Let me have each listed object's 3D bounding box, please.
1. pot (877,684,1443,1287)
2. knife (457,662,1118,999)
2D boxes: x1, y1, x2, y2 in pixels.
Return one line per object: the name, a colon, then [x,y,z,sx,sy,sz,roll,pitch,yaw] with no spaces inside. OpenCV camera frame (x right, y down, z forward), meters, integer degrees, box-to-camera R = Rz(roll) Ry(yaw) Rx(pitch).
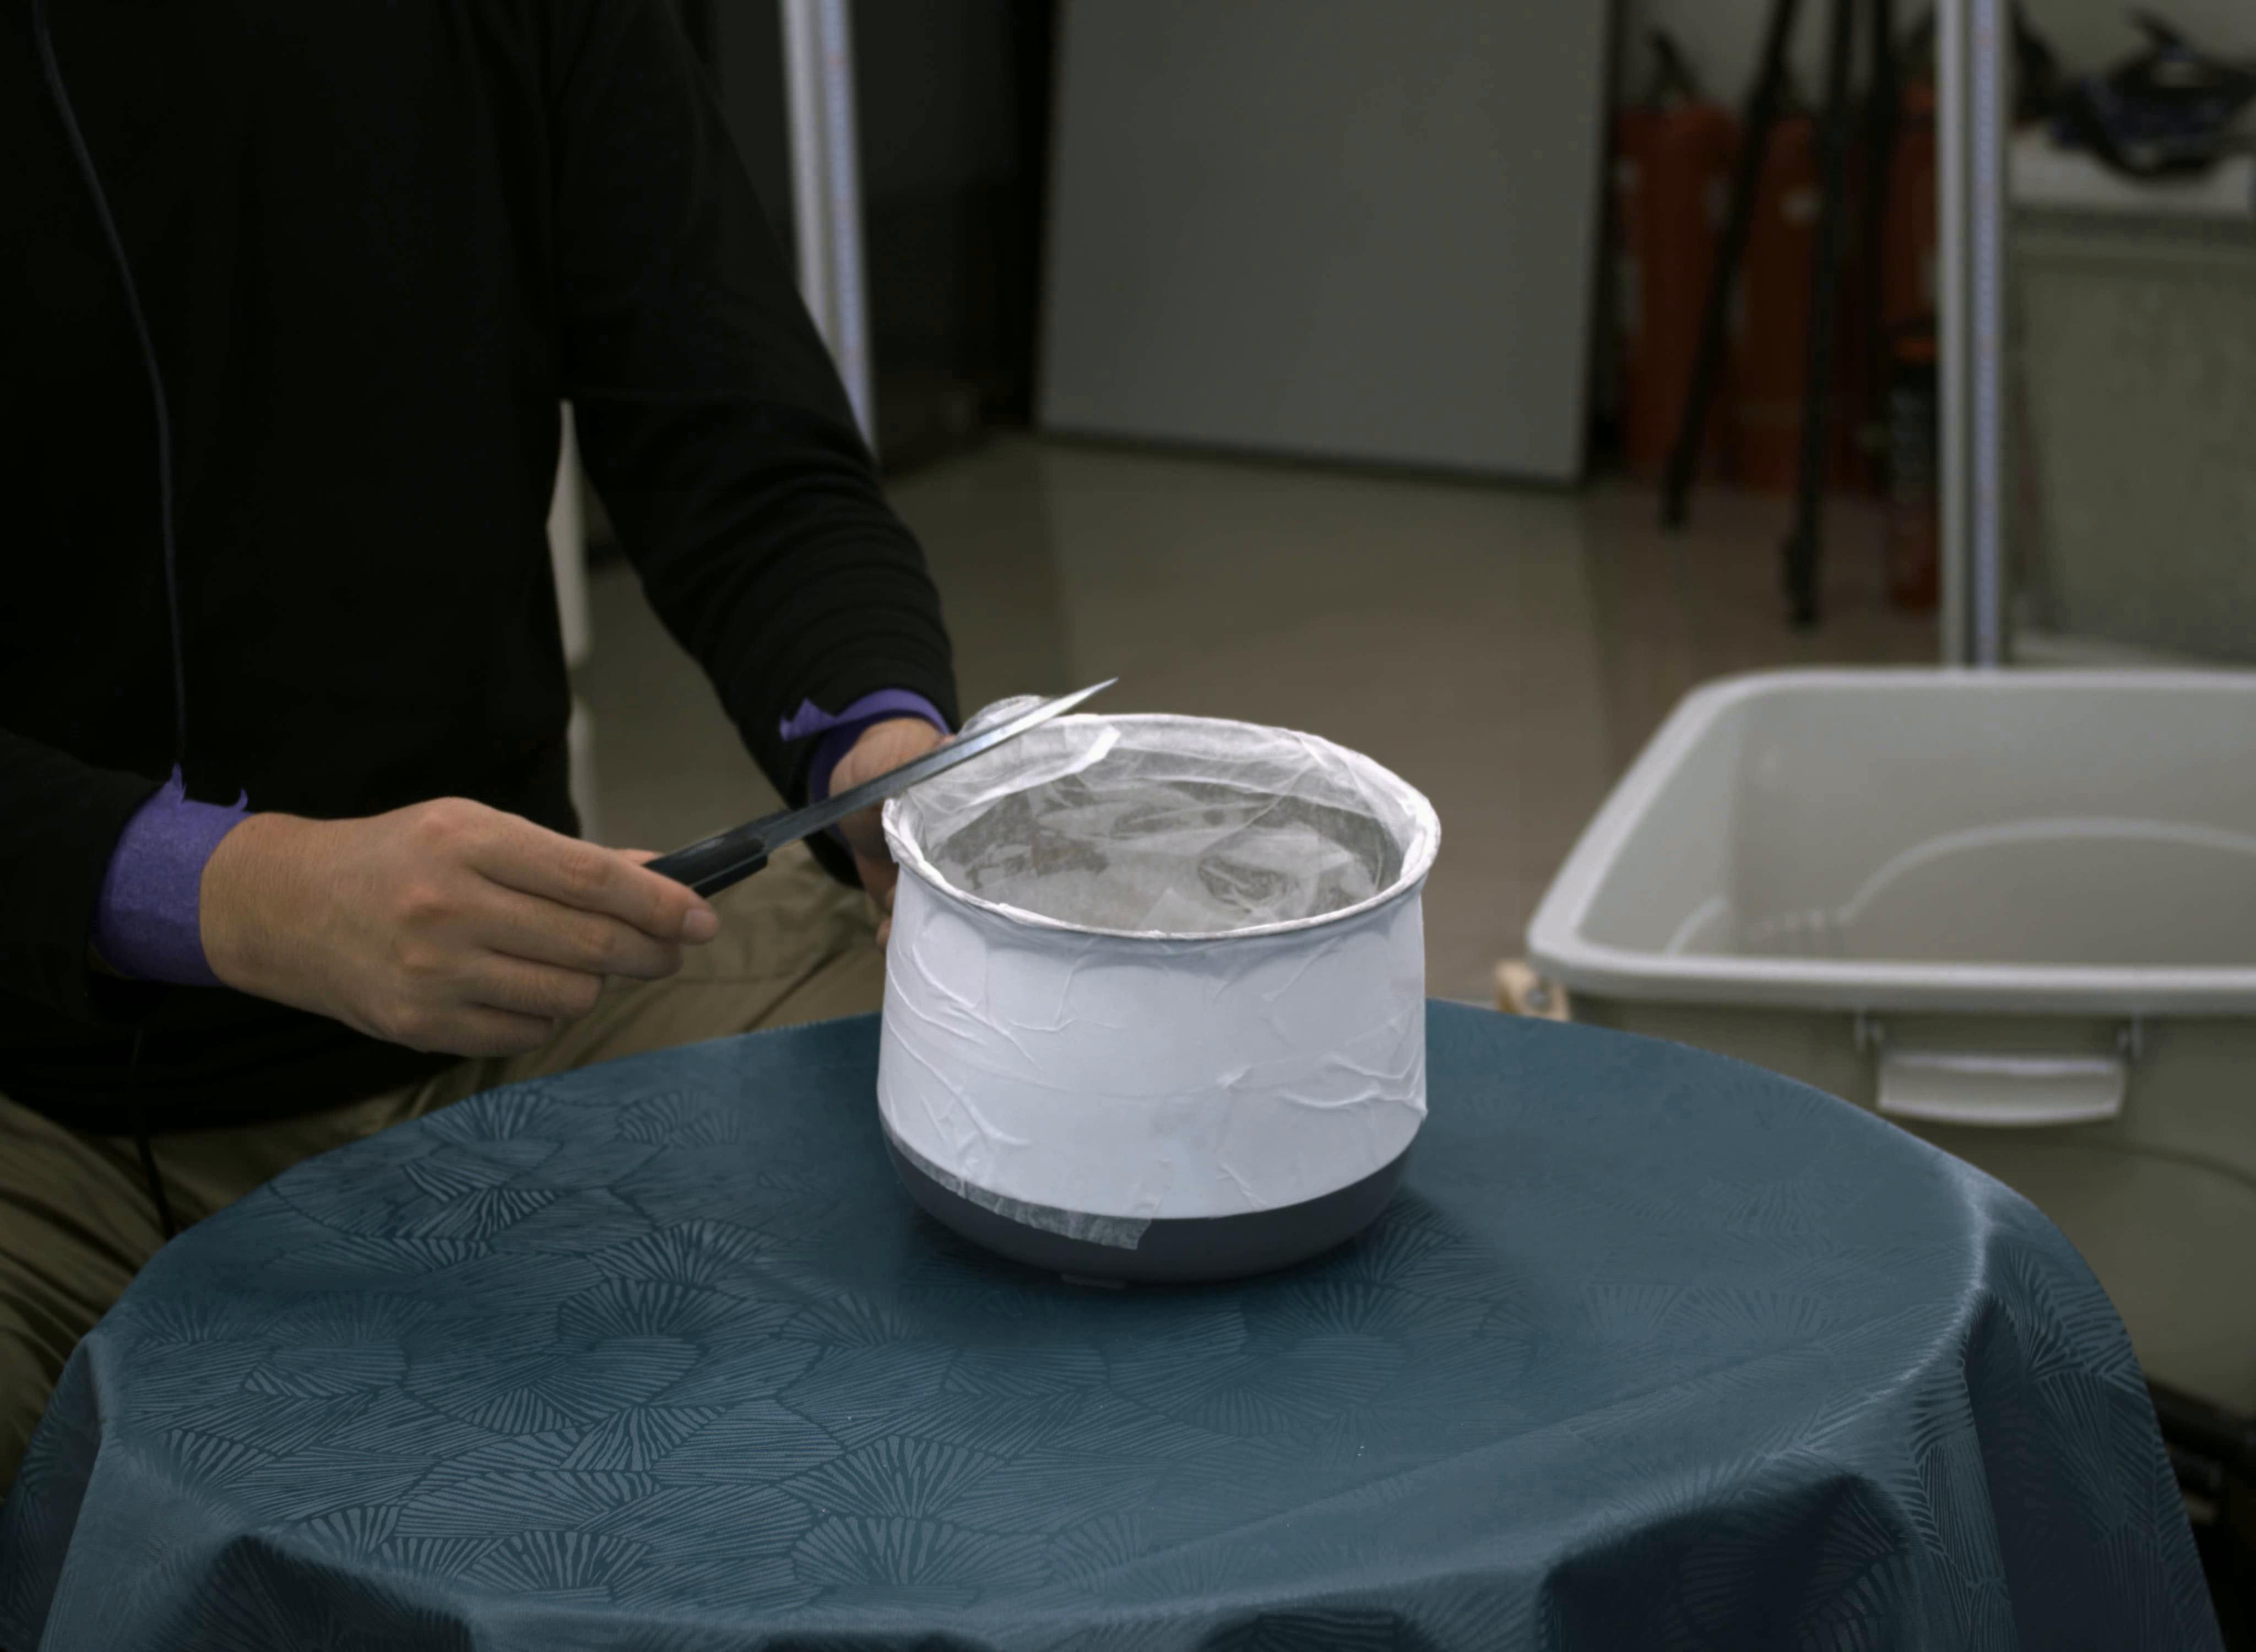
pot: [-0.006,0.044,1.737,0.175,0.138,0.236,-11,27,-30]
knife: [-0.109,0.000,1.721,0.237,0.016,0.024,-26,19,8]
